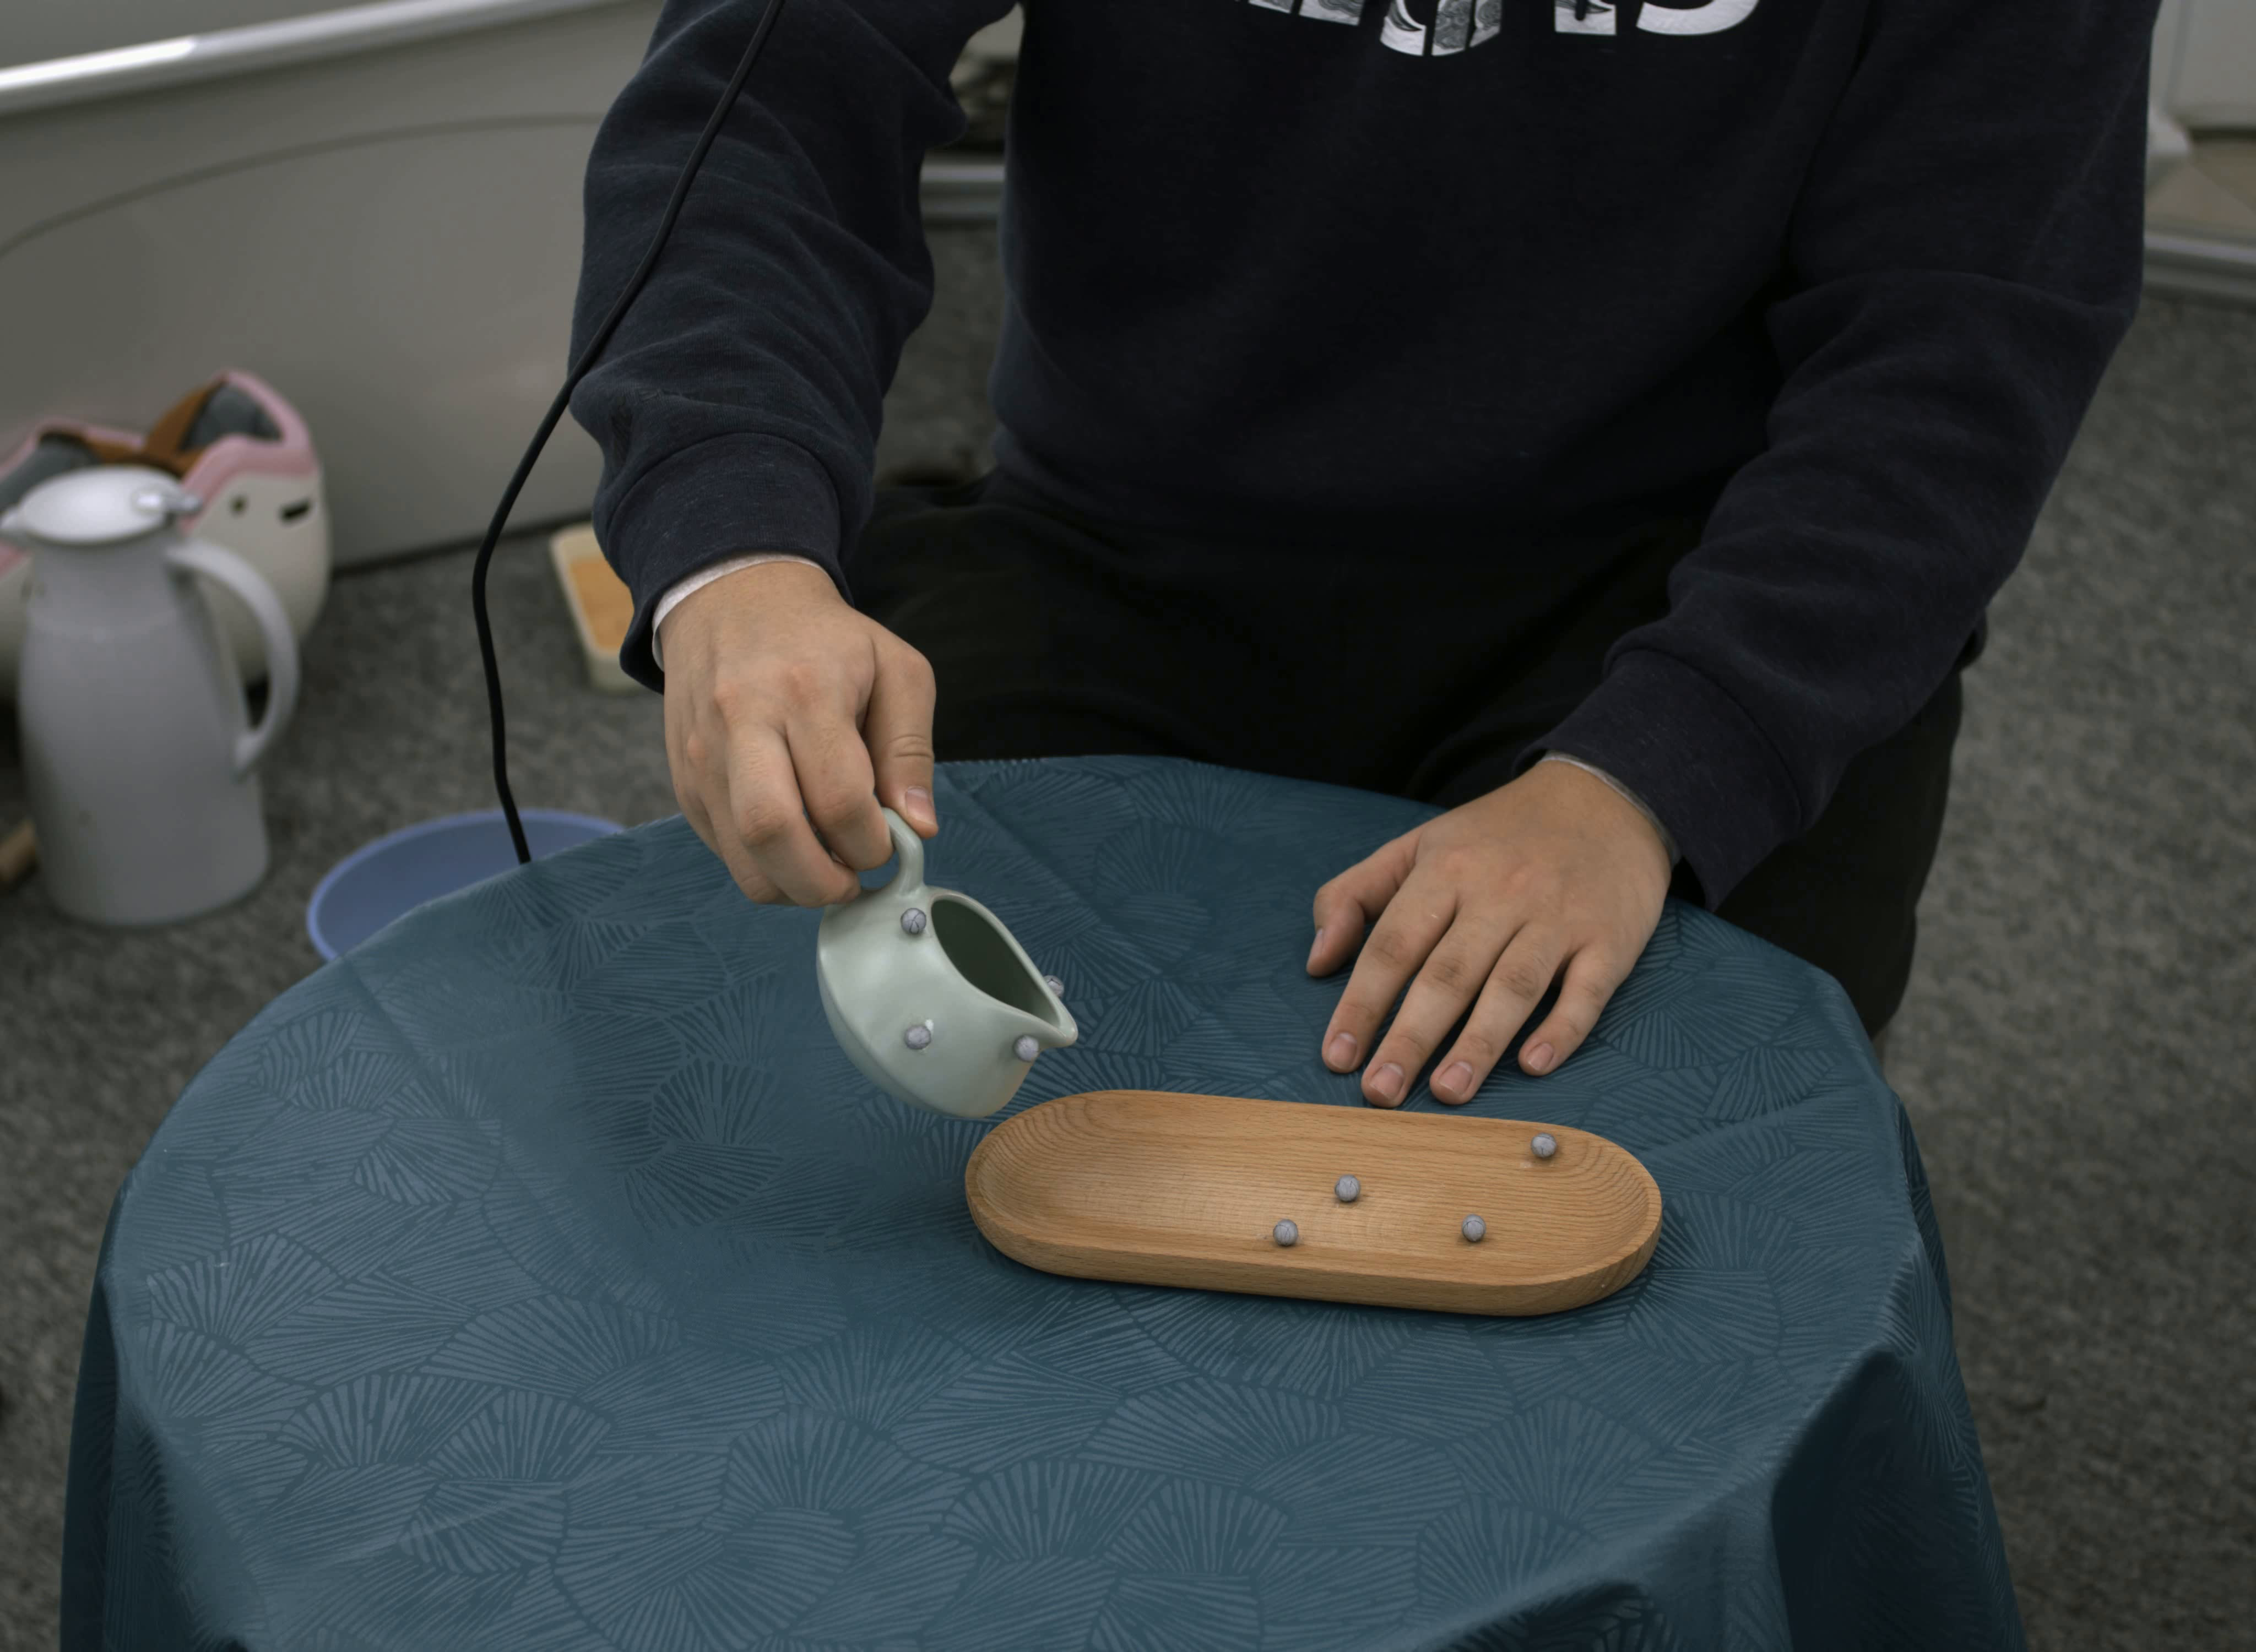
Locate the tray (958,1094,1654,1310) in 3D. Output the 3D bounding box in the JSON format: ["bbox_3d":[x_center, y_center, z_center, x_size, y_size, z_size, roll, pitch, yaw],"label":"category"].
[{"bbox_3d":[0.057,0.123,1.840,0.229,0.020,0.103,2,26,13],"label":"tray"}]

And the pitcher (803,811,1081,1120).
[{"bbox_3d":[-0.069,0.046,1.823,0.059,0.108,0.087,-42,2,24],"label":"pitcher"}]
